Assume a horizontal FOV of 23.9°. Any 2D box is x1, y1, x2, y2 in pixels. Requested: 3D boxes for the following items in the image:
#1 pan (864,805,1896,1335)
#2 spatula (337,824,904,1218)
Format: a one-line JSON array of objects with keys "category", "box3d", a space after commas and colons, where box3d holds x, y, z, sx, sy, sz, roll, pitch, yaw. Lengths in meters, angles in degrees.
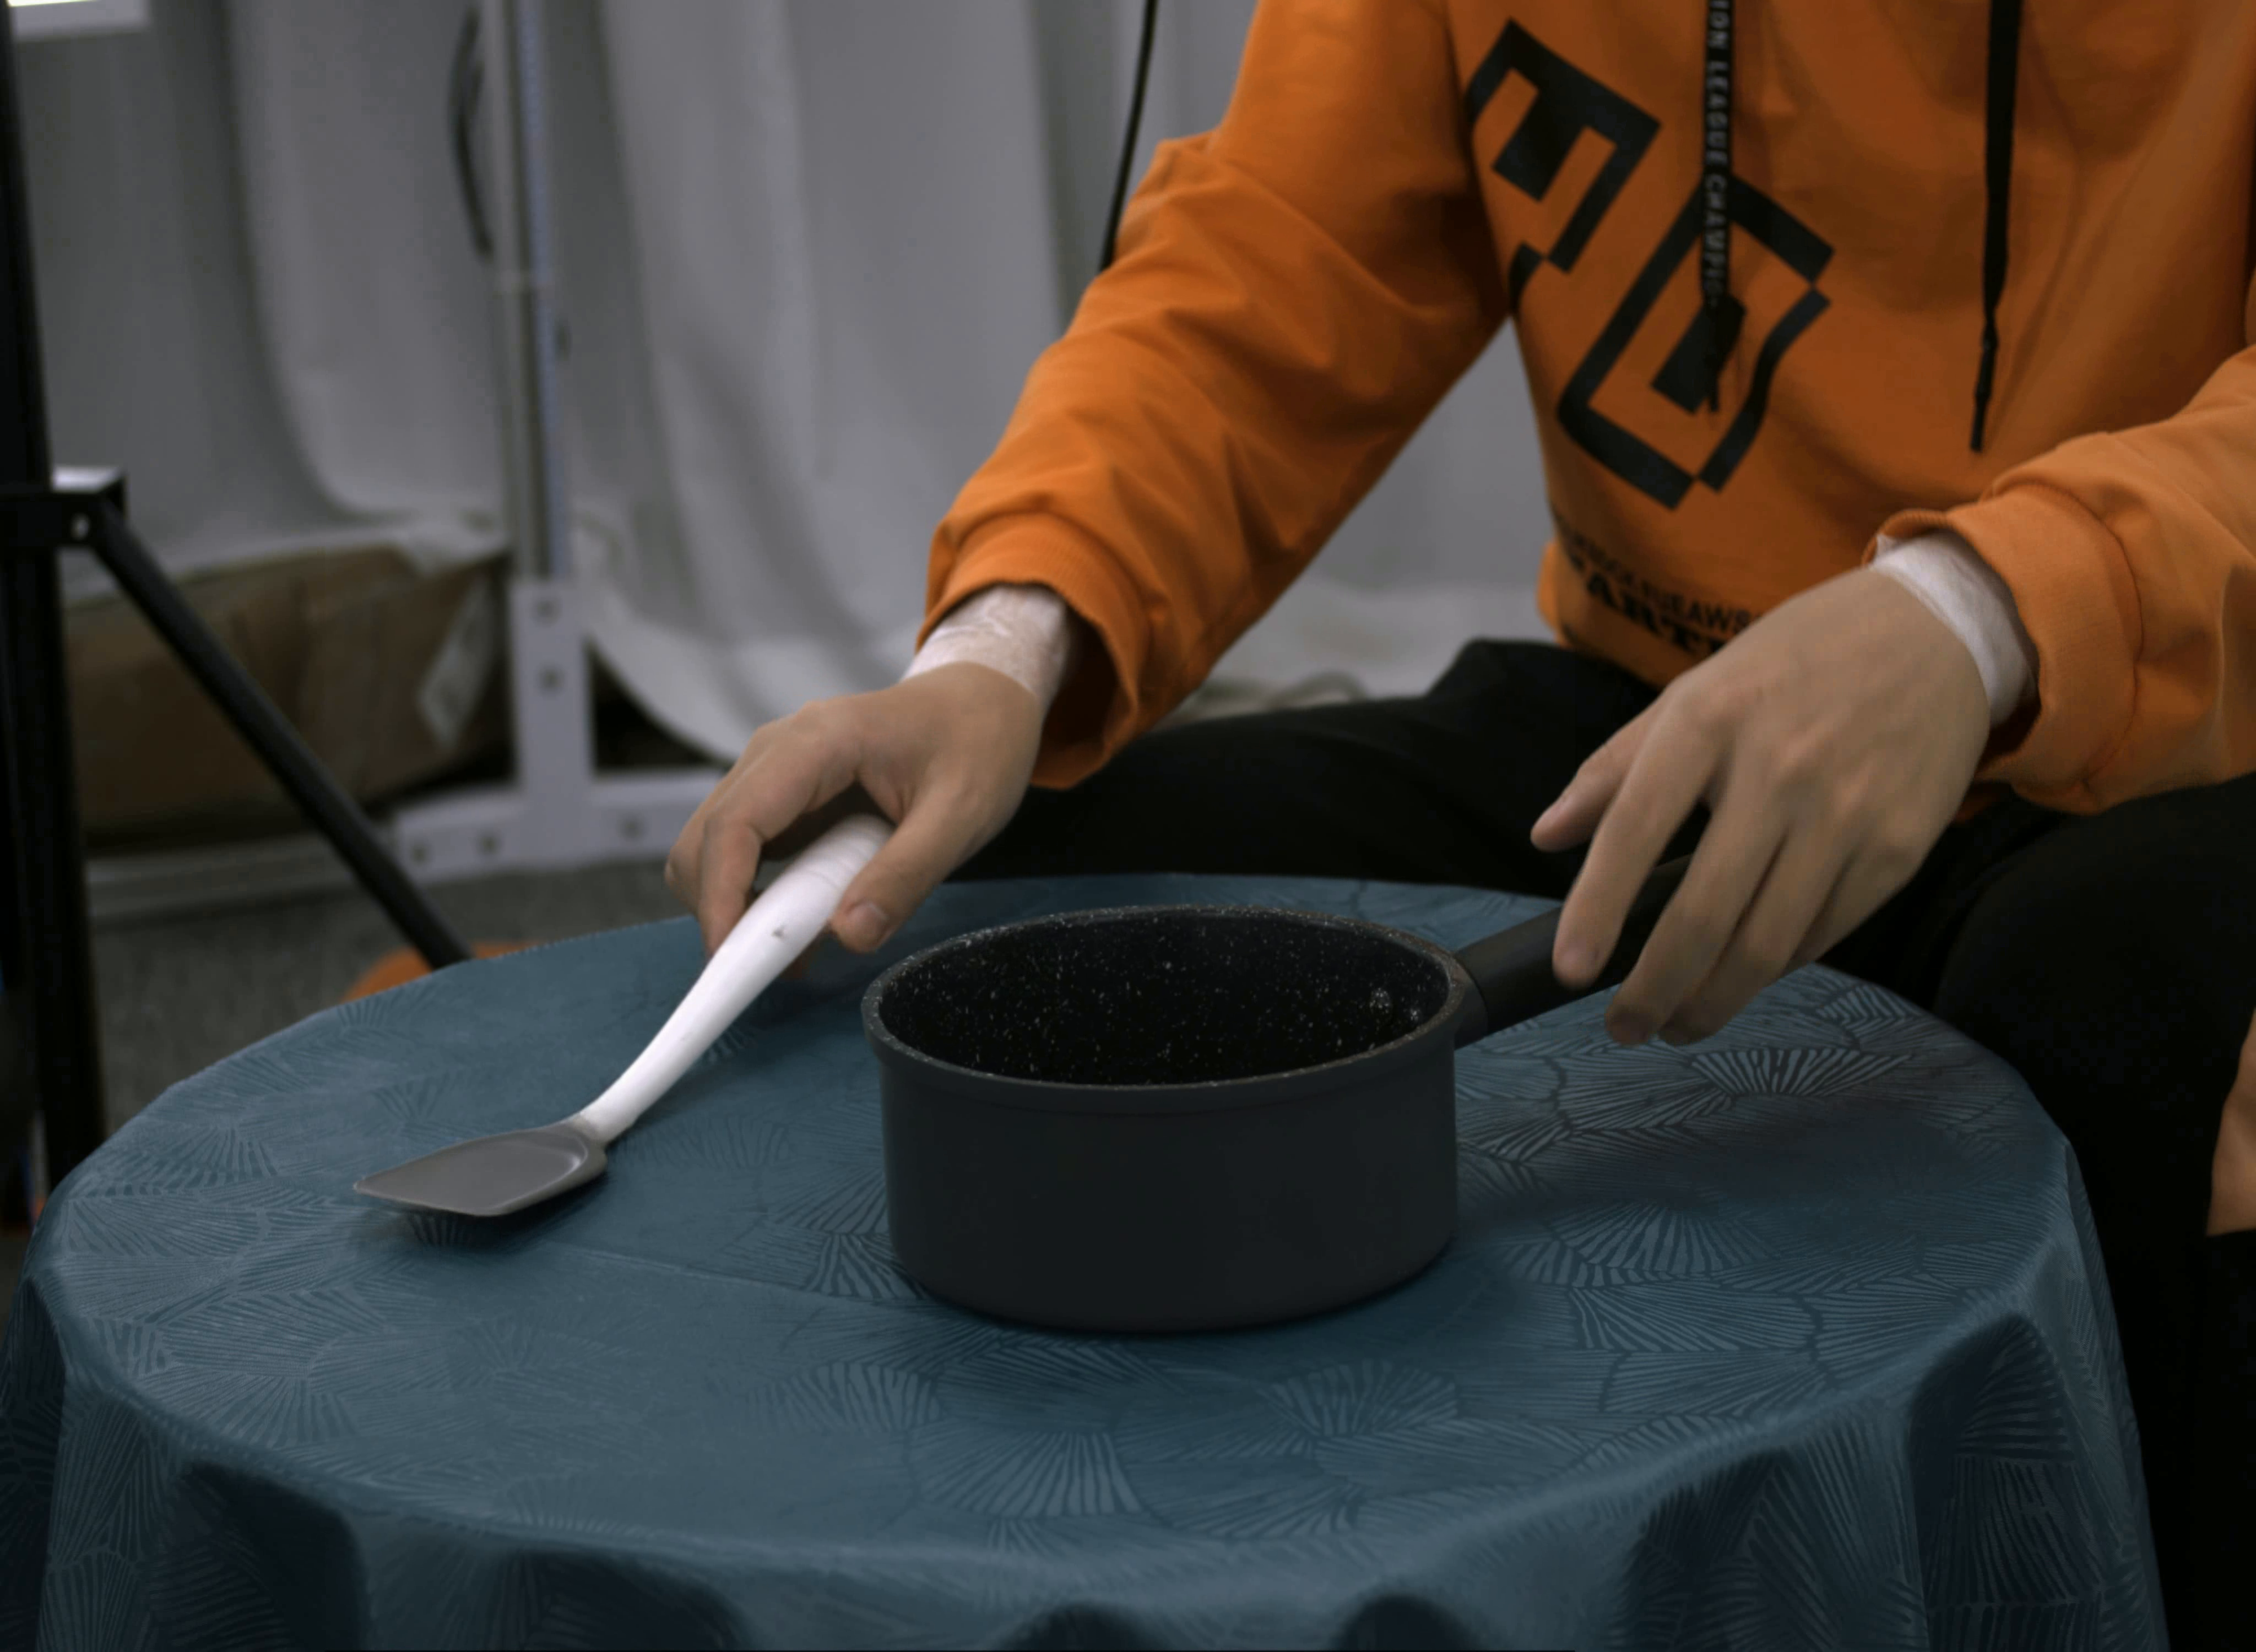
[{"category": "pan", "box3d": [0.081, 0.066, 1.537, 0.322, 0.086, 0.175, -12, 19, -24]}, {"category": "spatula", "box3d": [-0.147, 0.066, 1.657, 0.059, 0.032, 0.284, 12, 27, 23]}]
